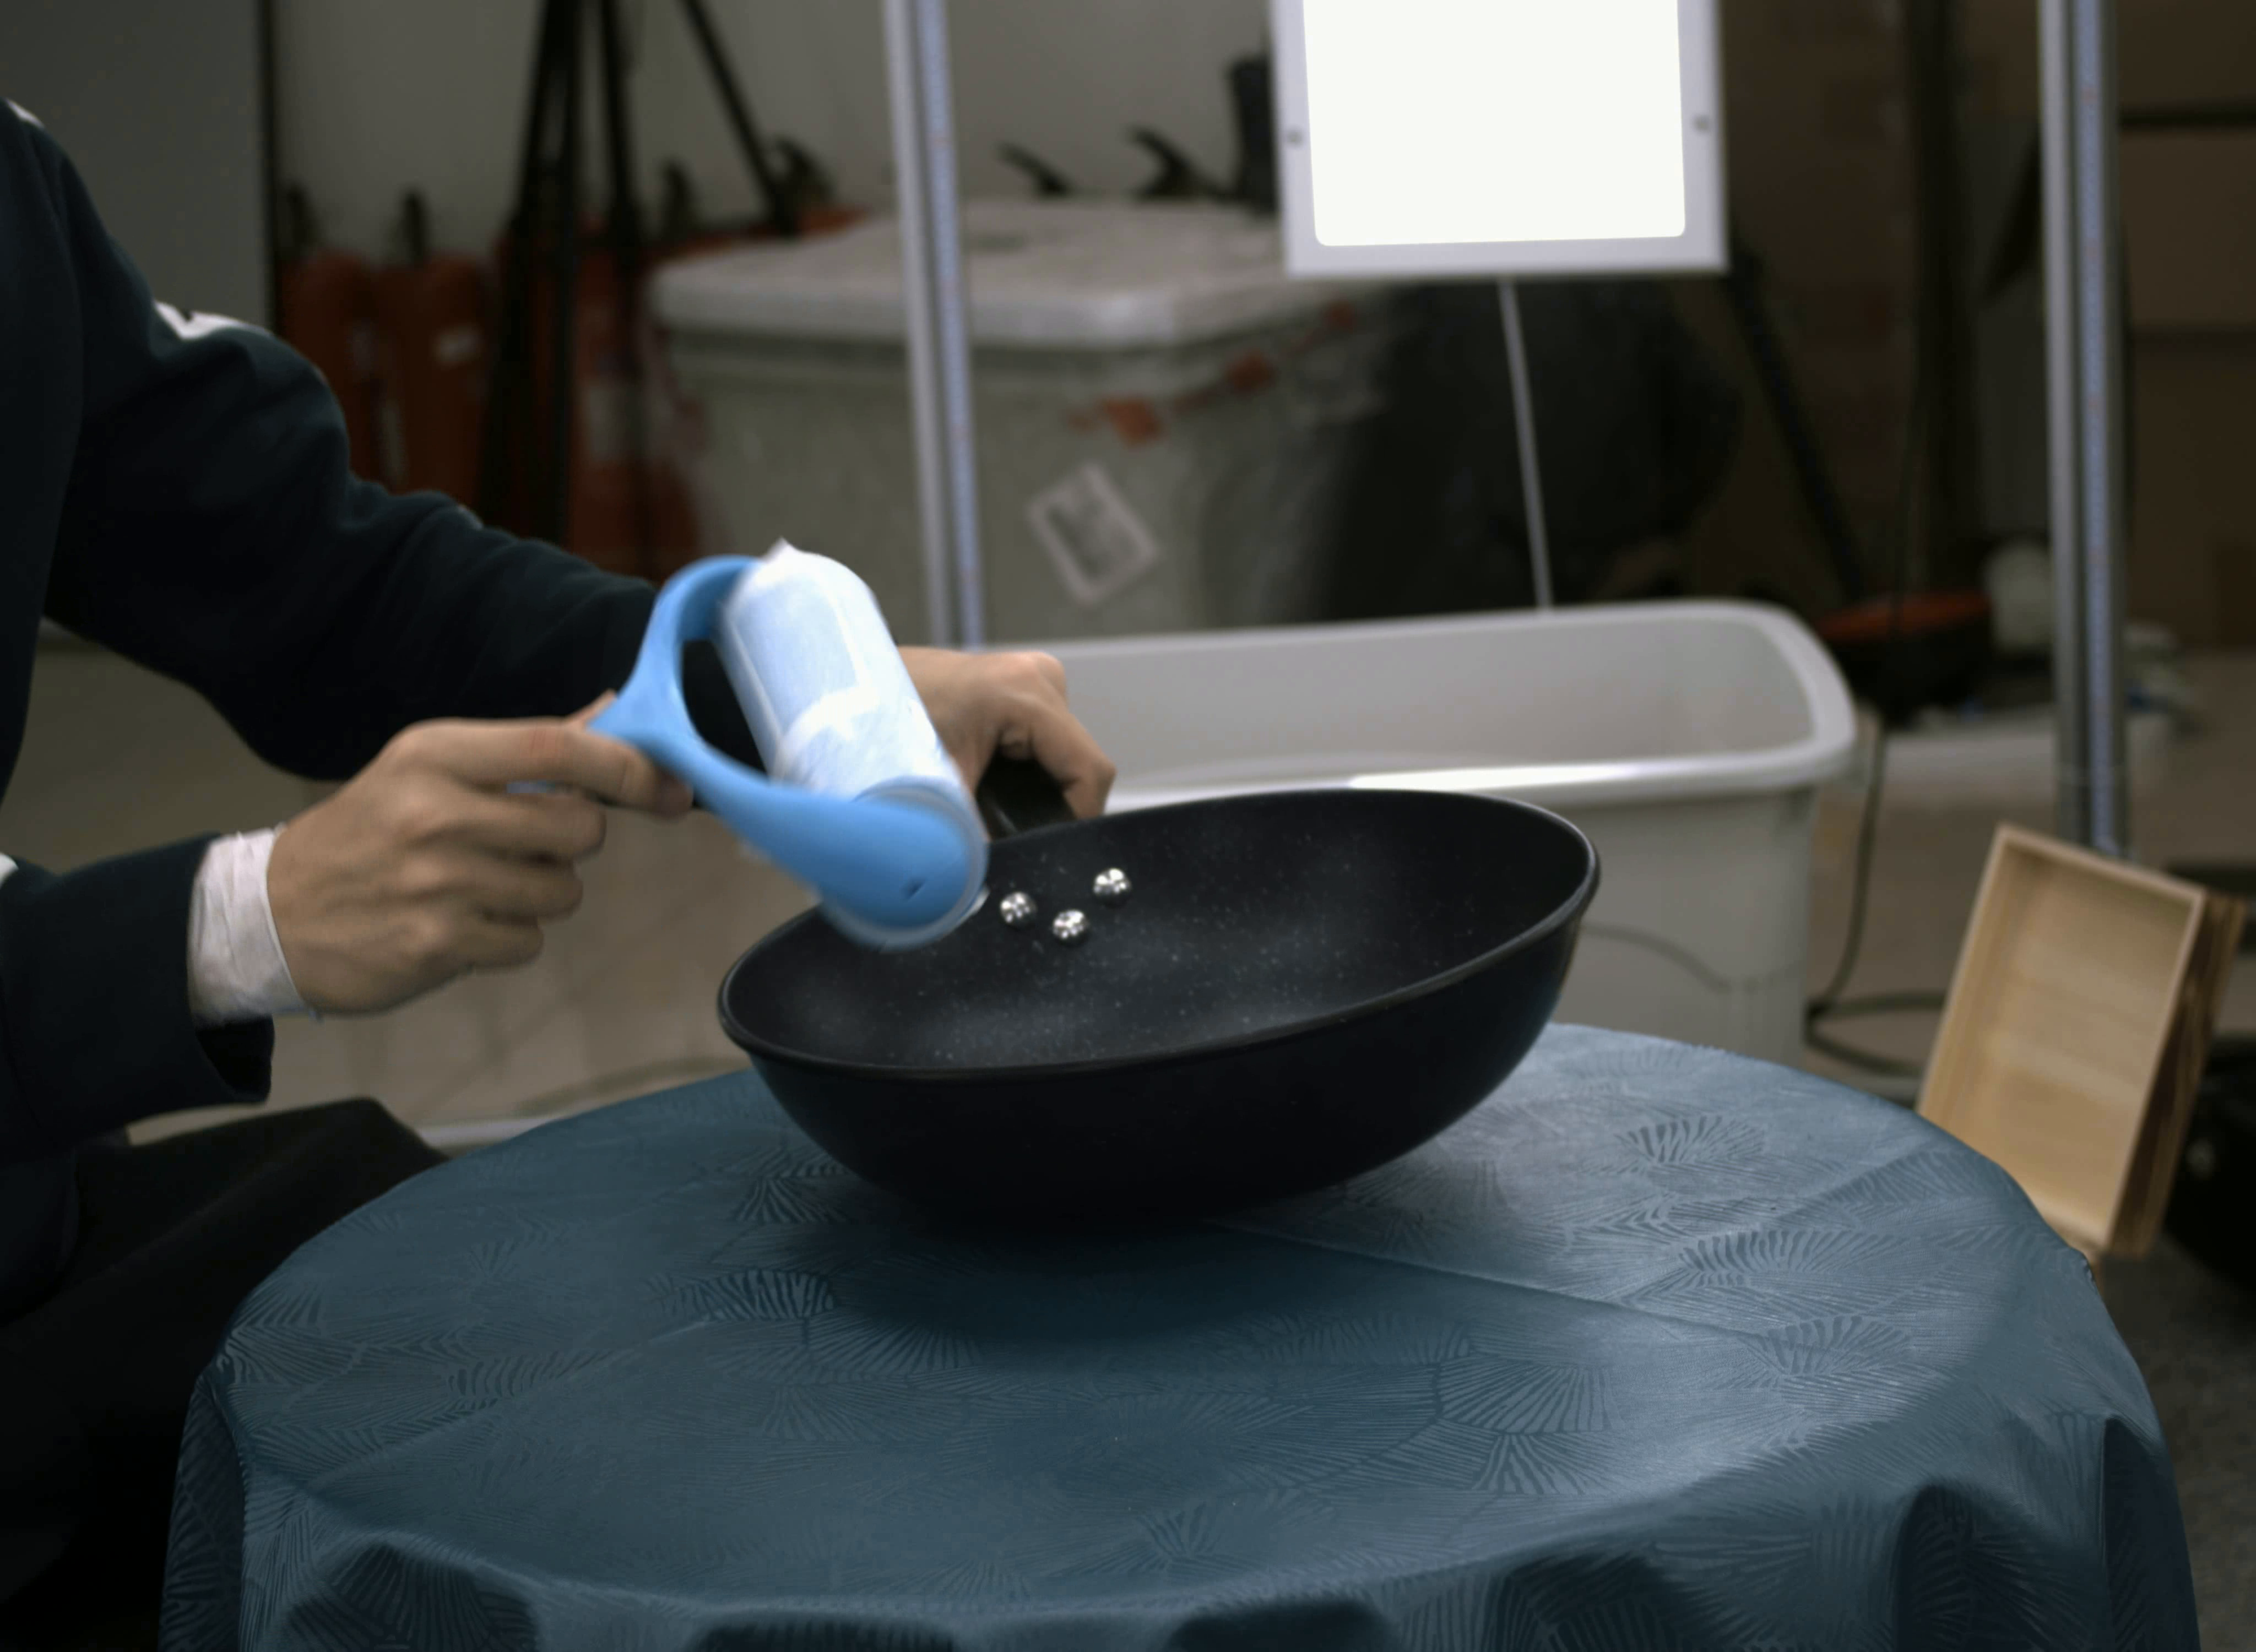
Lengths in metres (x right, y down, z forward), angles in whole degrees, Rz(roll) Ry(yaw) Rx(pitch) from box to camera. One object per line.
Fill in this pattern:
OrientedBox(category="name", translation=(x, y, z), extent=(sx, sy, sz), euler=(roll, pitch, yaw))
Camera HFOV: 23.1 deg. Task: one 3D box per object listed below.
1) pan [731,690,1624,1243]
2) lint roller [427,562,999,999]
OrientedBox(category="pan", translation=(-0.003, 0.048, 1.972), extent=(0.306, 0.112, 0.481), euler=(-12, 15, -13))
OrientedBox(category="lint roller", translation=(-0.139, -0.004, 1.694), extent=(0.179, 0.068, 0.230), euler=(-21, 27, -4))
